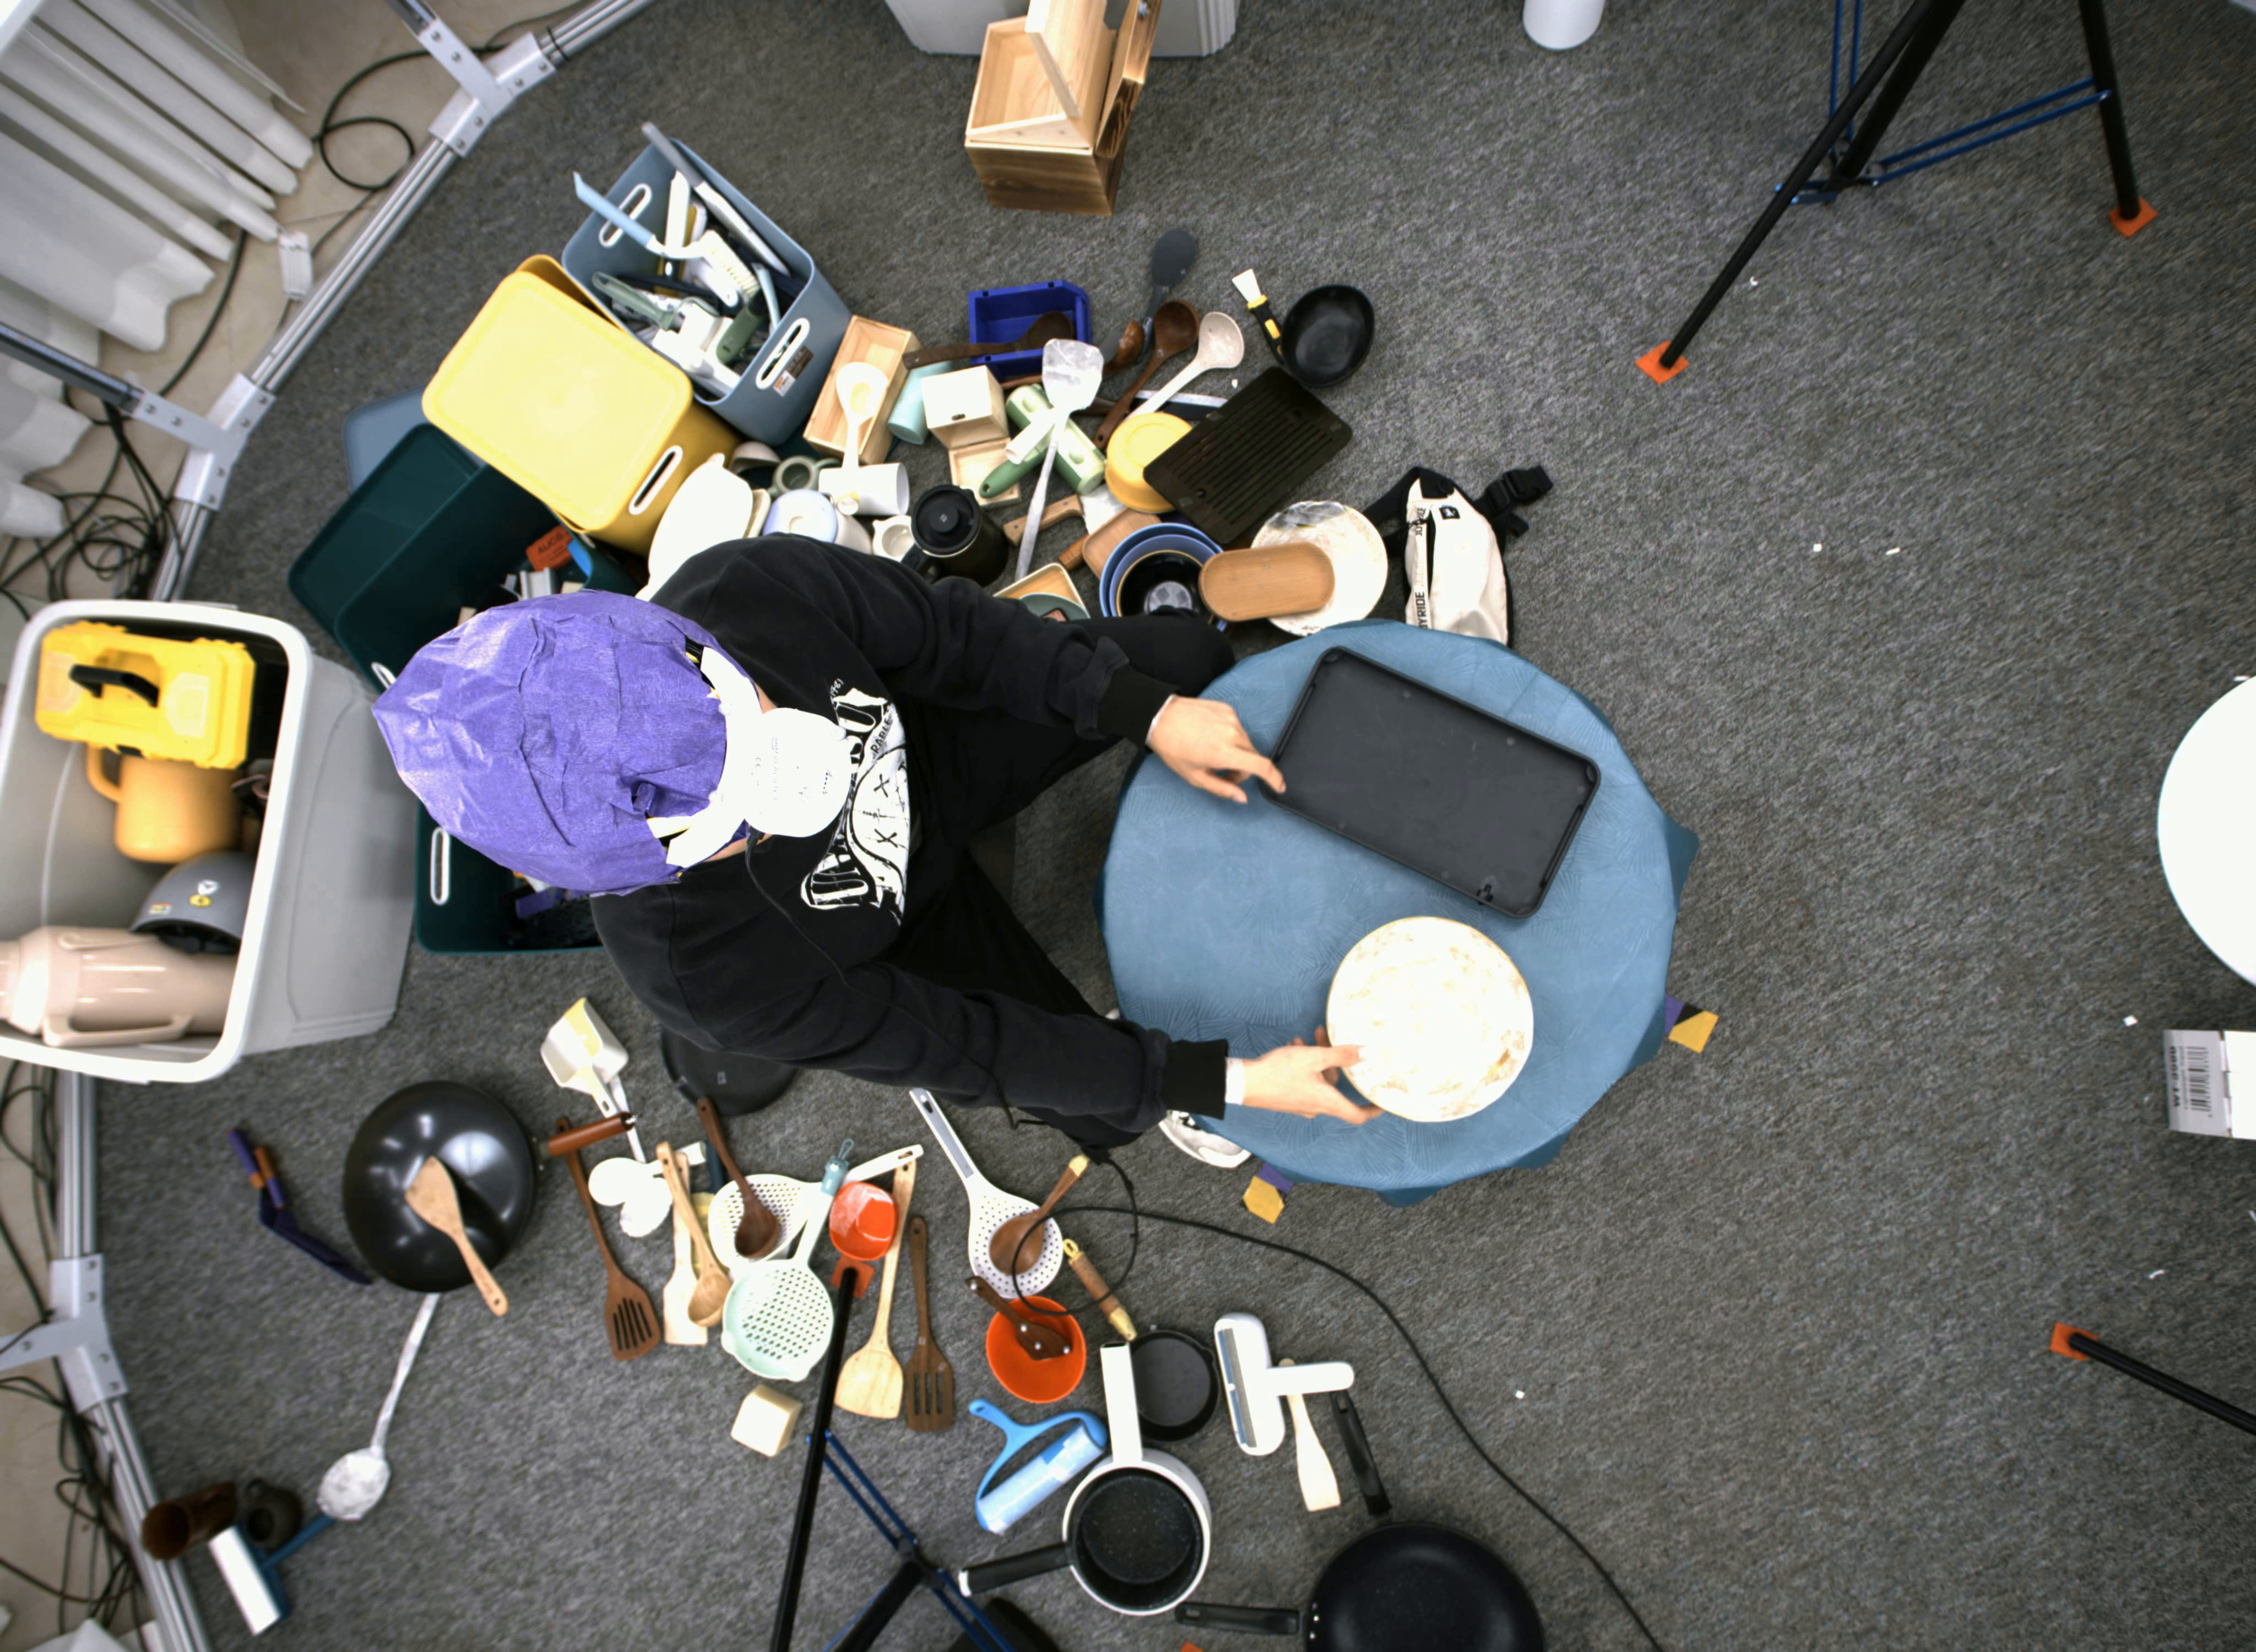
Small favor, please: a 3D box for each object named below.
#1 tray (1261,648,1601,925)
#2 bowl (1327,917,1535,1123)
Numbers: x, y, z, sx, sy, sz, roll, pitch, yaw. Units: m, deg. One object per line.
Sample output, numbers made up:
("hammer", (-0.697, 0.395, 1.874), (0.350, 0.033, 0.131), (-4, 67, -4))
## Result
("tray", (0.315, -0.044, 1.448), (0.317, 0.037, 0.184), (28, 91, 10))
("bowl", (0.304, 0.190, 1.403), (0.215, 0.094, 0.214), (-1, 86, 11))
